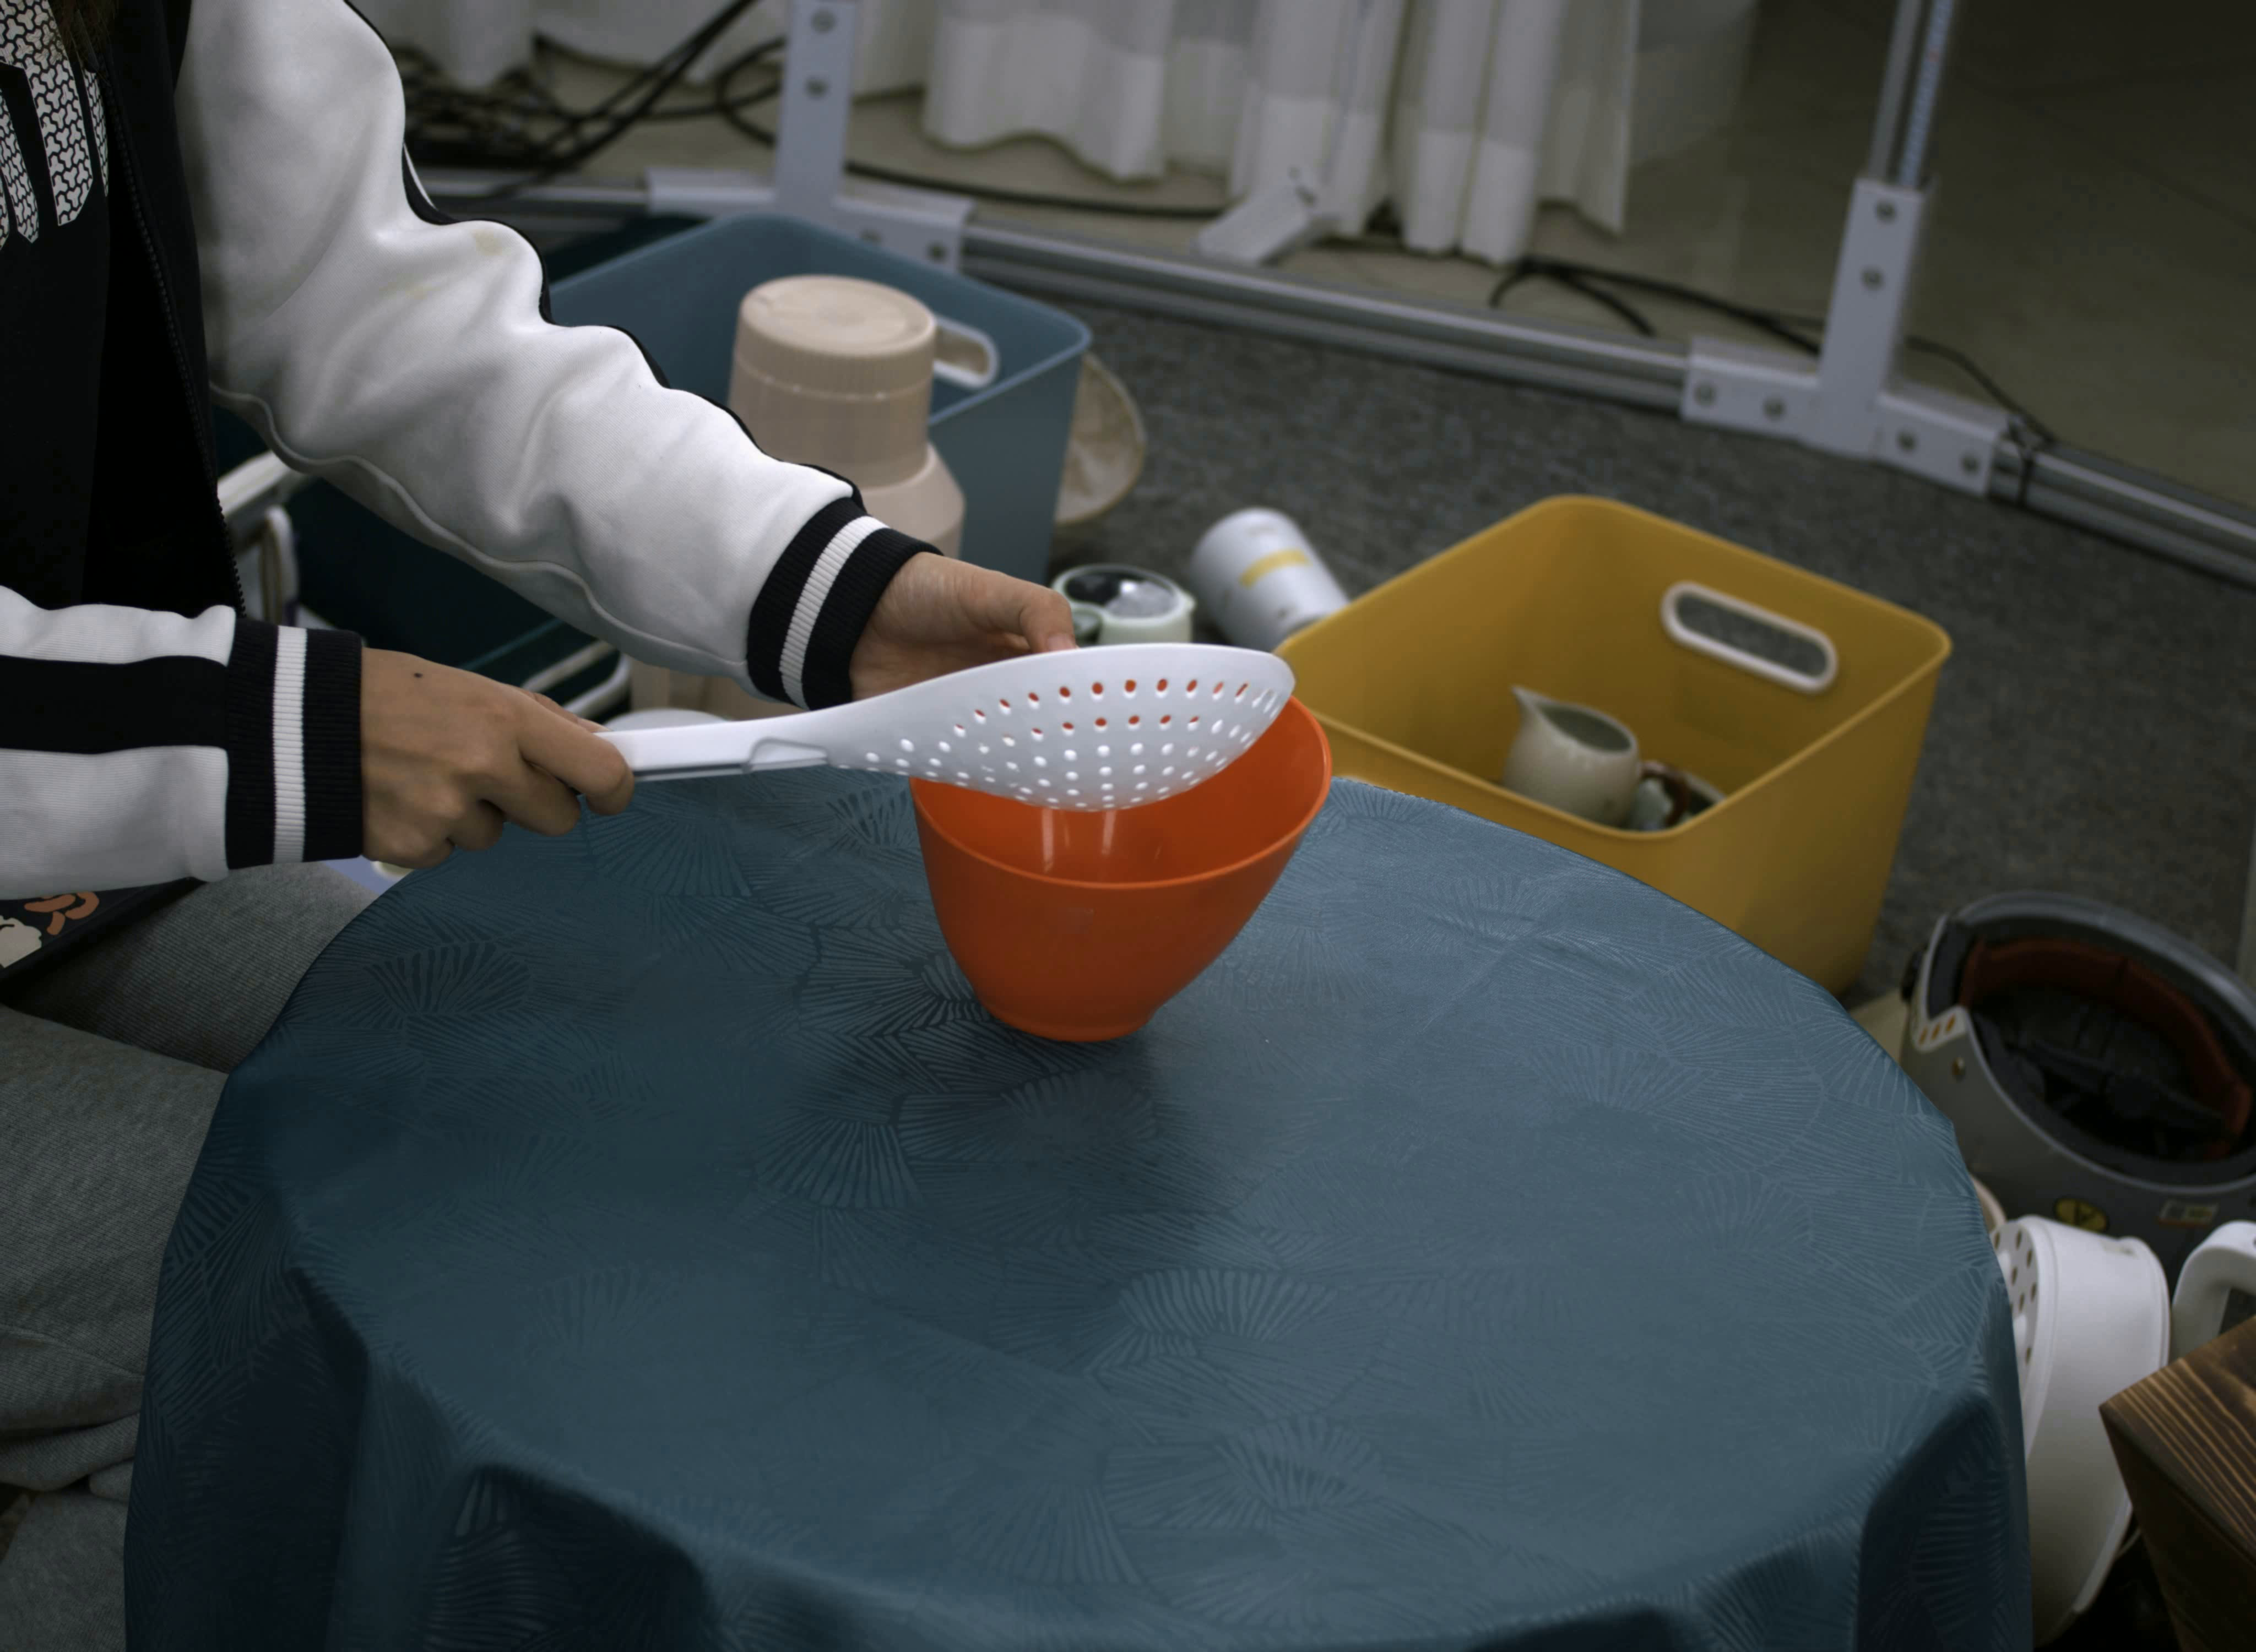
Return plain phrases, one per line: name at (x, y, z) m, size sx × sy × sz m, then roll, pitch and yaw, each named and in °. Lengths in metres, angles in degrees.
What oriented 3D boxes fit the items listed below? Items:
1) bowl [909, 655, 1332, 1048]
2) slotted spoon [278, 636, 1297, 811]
bowl at (-0.007, 0.016, 1.883) m, size 0.147 × 0.104 × 0.149 m, roll 6°, pitch 30°, yaw -4°
slotted spoon at (-0.116, -0.030, 1.818) m, size 0.349 × 0.046 × 0.135 m, roll -1°, pitch -12°, yaw 3°
